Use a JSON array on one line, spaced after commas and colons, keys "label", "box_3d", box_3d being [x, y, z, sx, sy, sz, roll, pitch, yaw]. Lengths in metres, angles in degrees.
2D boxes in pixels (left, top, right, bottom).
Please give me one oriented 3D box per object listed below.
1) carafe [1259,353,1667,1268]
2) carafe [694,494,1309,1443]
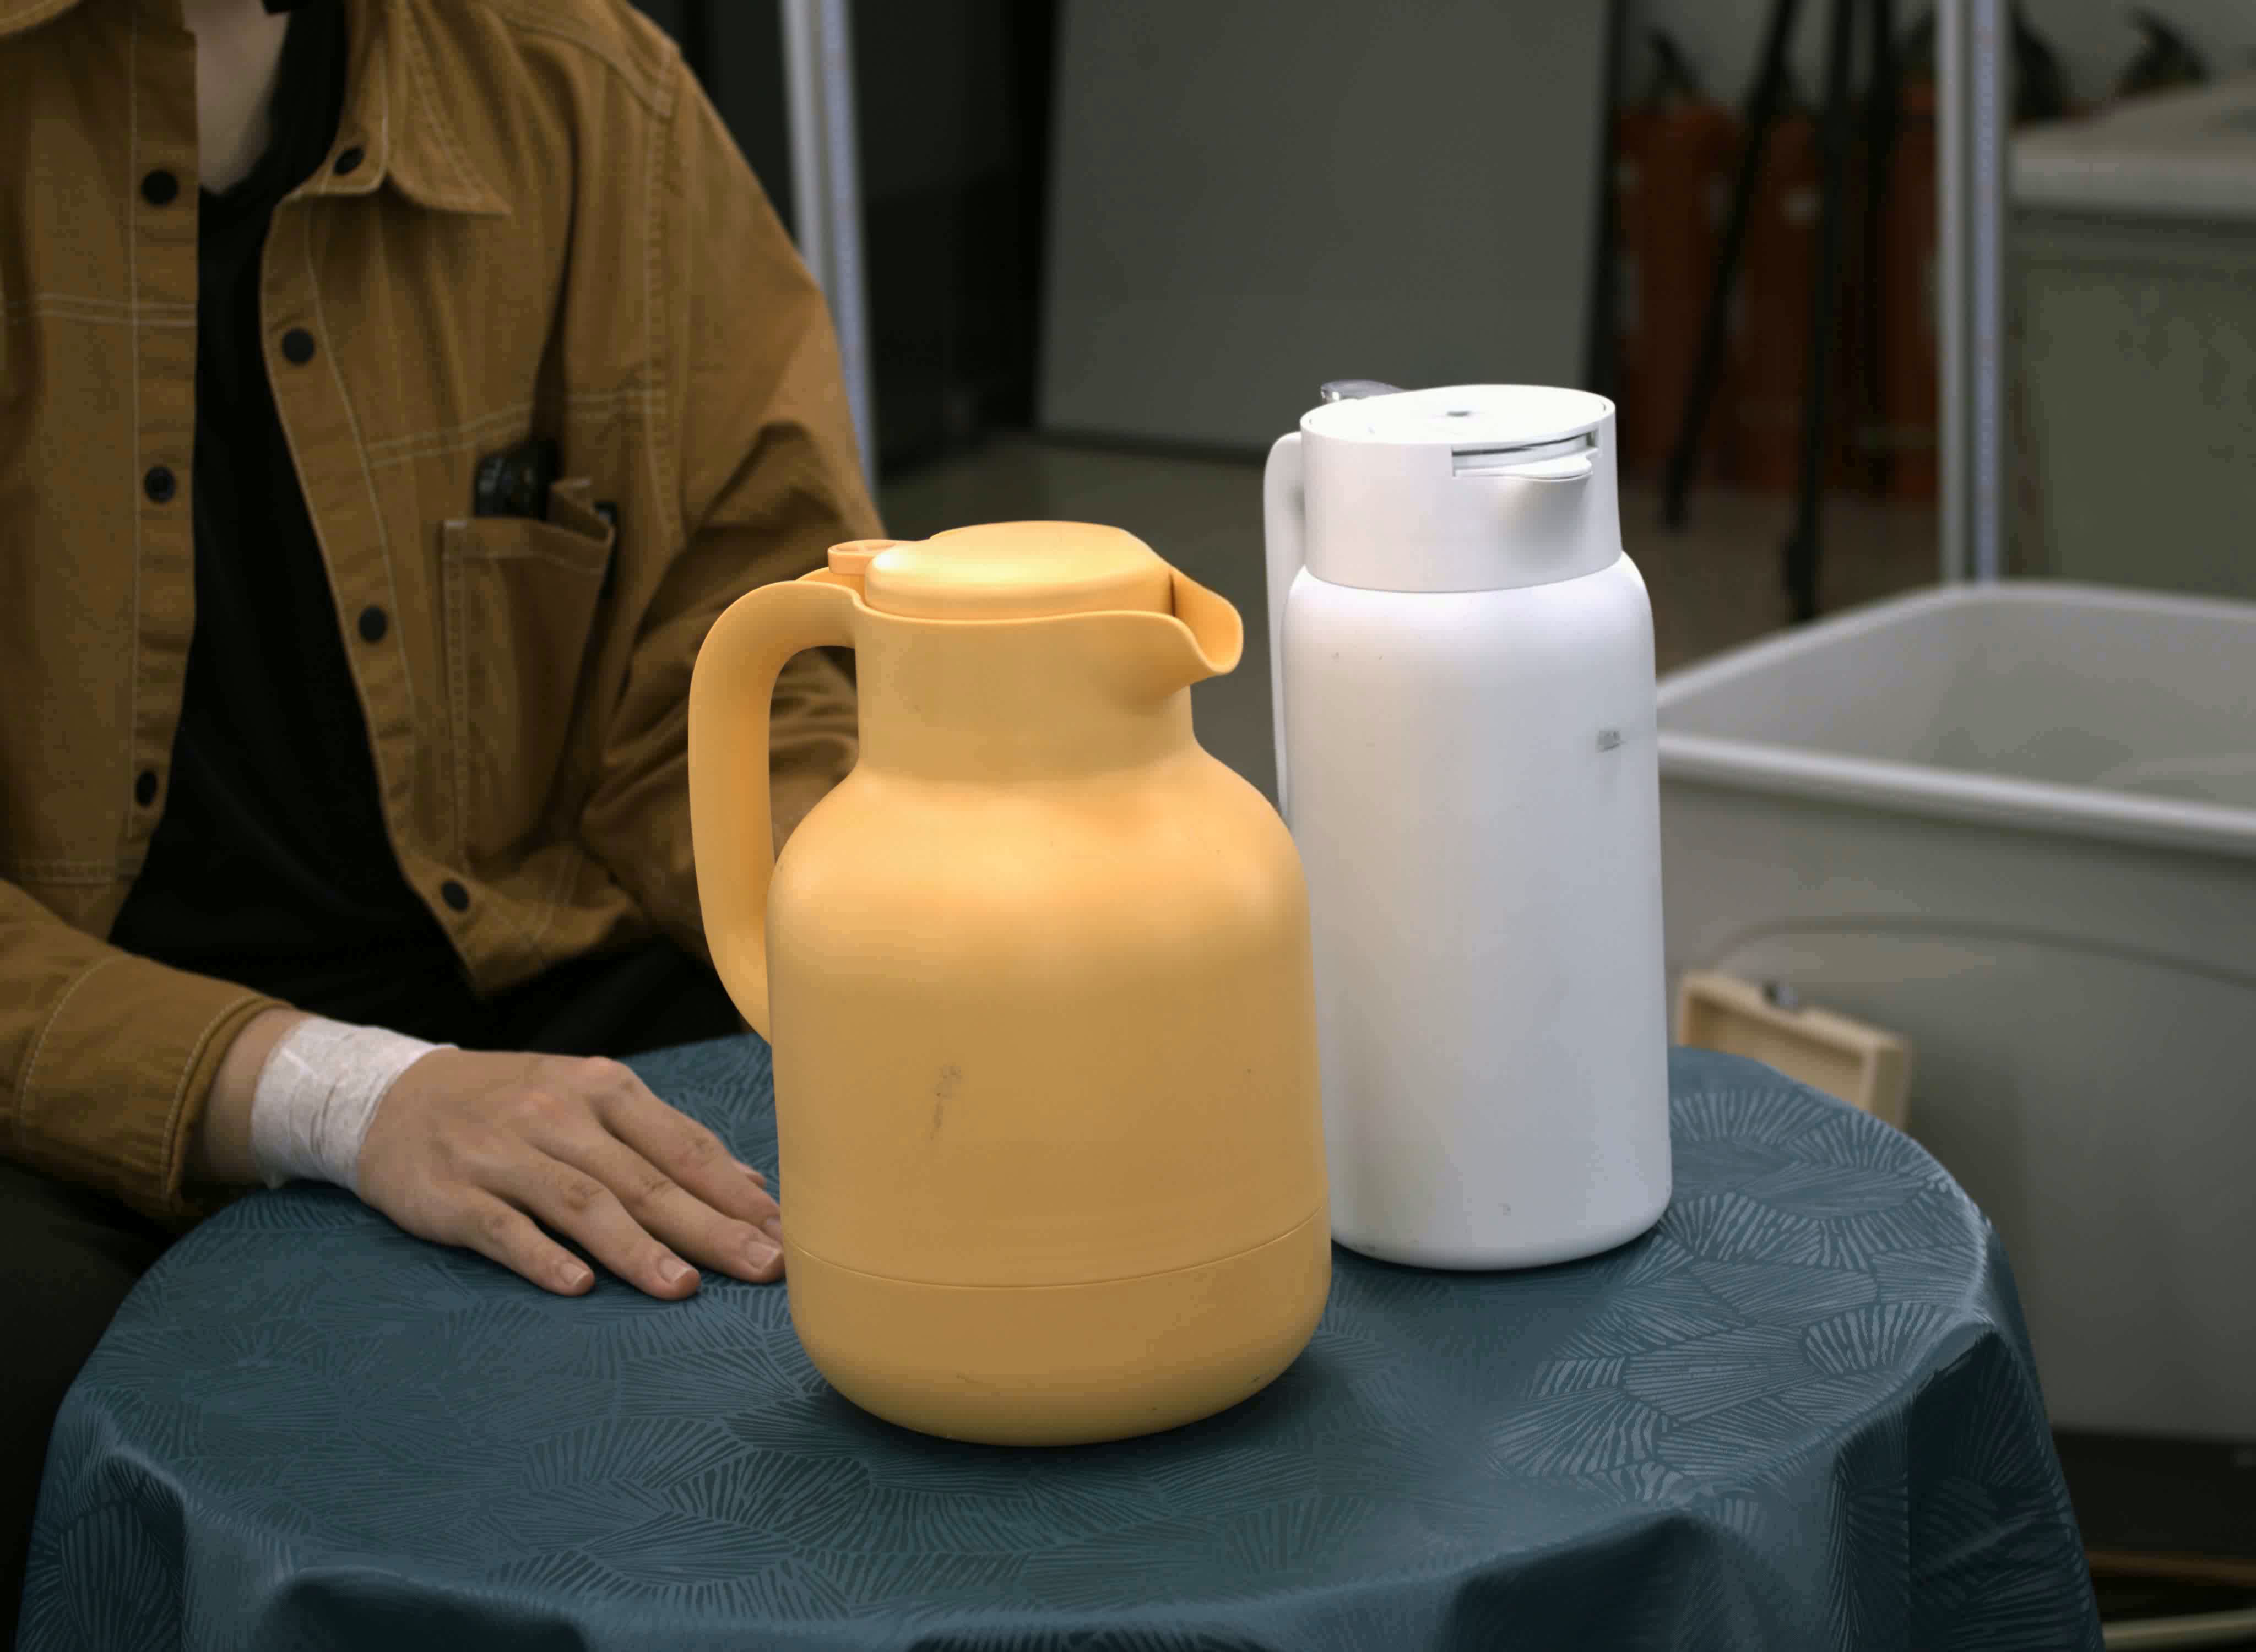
[{"label": "carafe", "box_3d": [0.098, -0.008, 1.702, 0.121, 0.272, 0.174, -13, 16, -25]}, {"label": "carafe", "box_3d": [-0.043, 0.034, 1.581, 0.204, 0.263, 0.160, 9, 15, 39]}]
